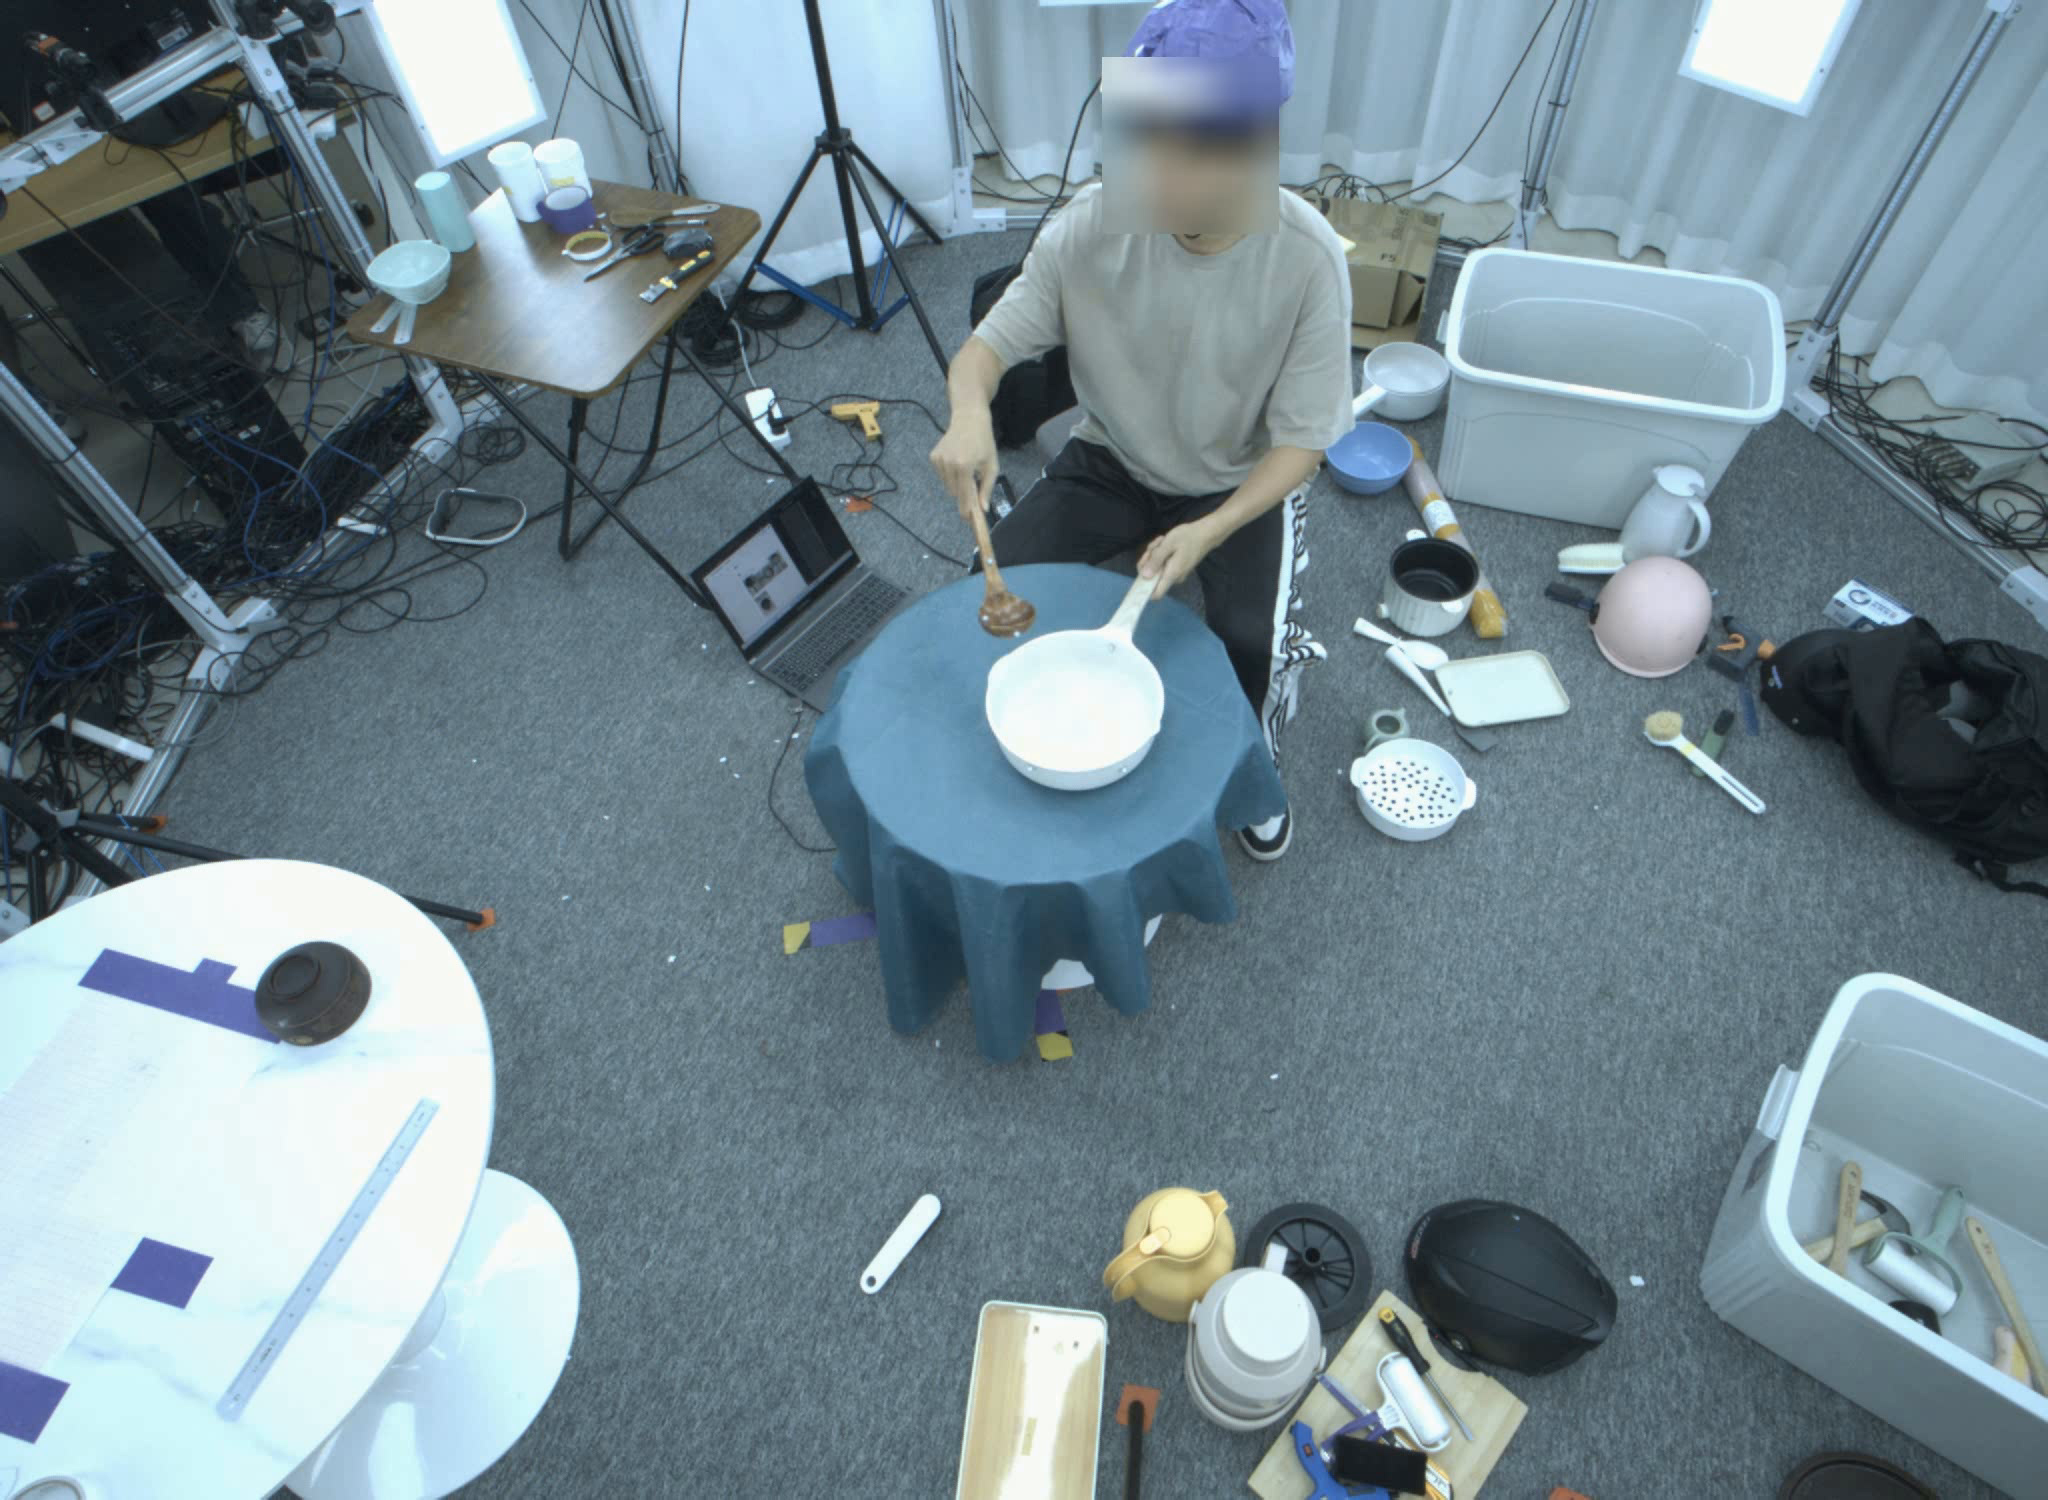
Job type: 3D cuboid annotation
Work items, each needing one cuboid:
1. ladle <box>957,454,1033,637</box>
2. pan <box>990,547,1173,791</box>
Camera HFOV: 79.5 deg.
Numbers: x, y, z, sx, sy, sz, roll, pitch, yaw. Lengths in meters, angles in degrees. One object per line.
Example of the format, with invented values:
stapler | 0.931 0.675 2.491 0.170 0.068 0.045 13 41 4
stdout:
ladle | -0.053 -0.288 1.699 0.083 0.075 0.274 -13 92 -19
pan | 0.122 -0.121 1.804 0.259 0.103 0.436 21 58 19
